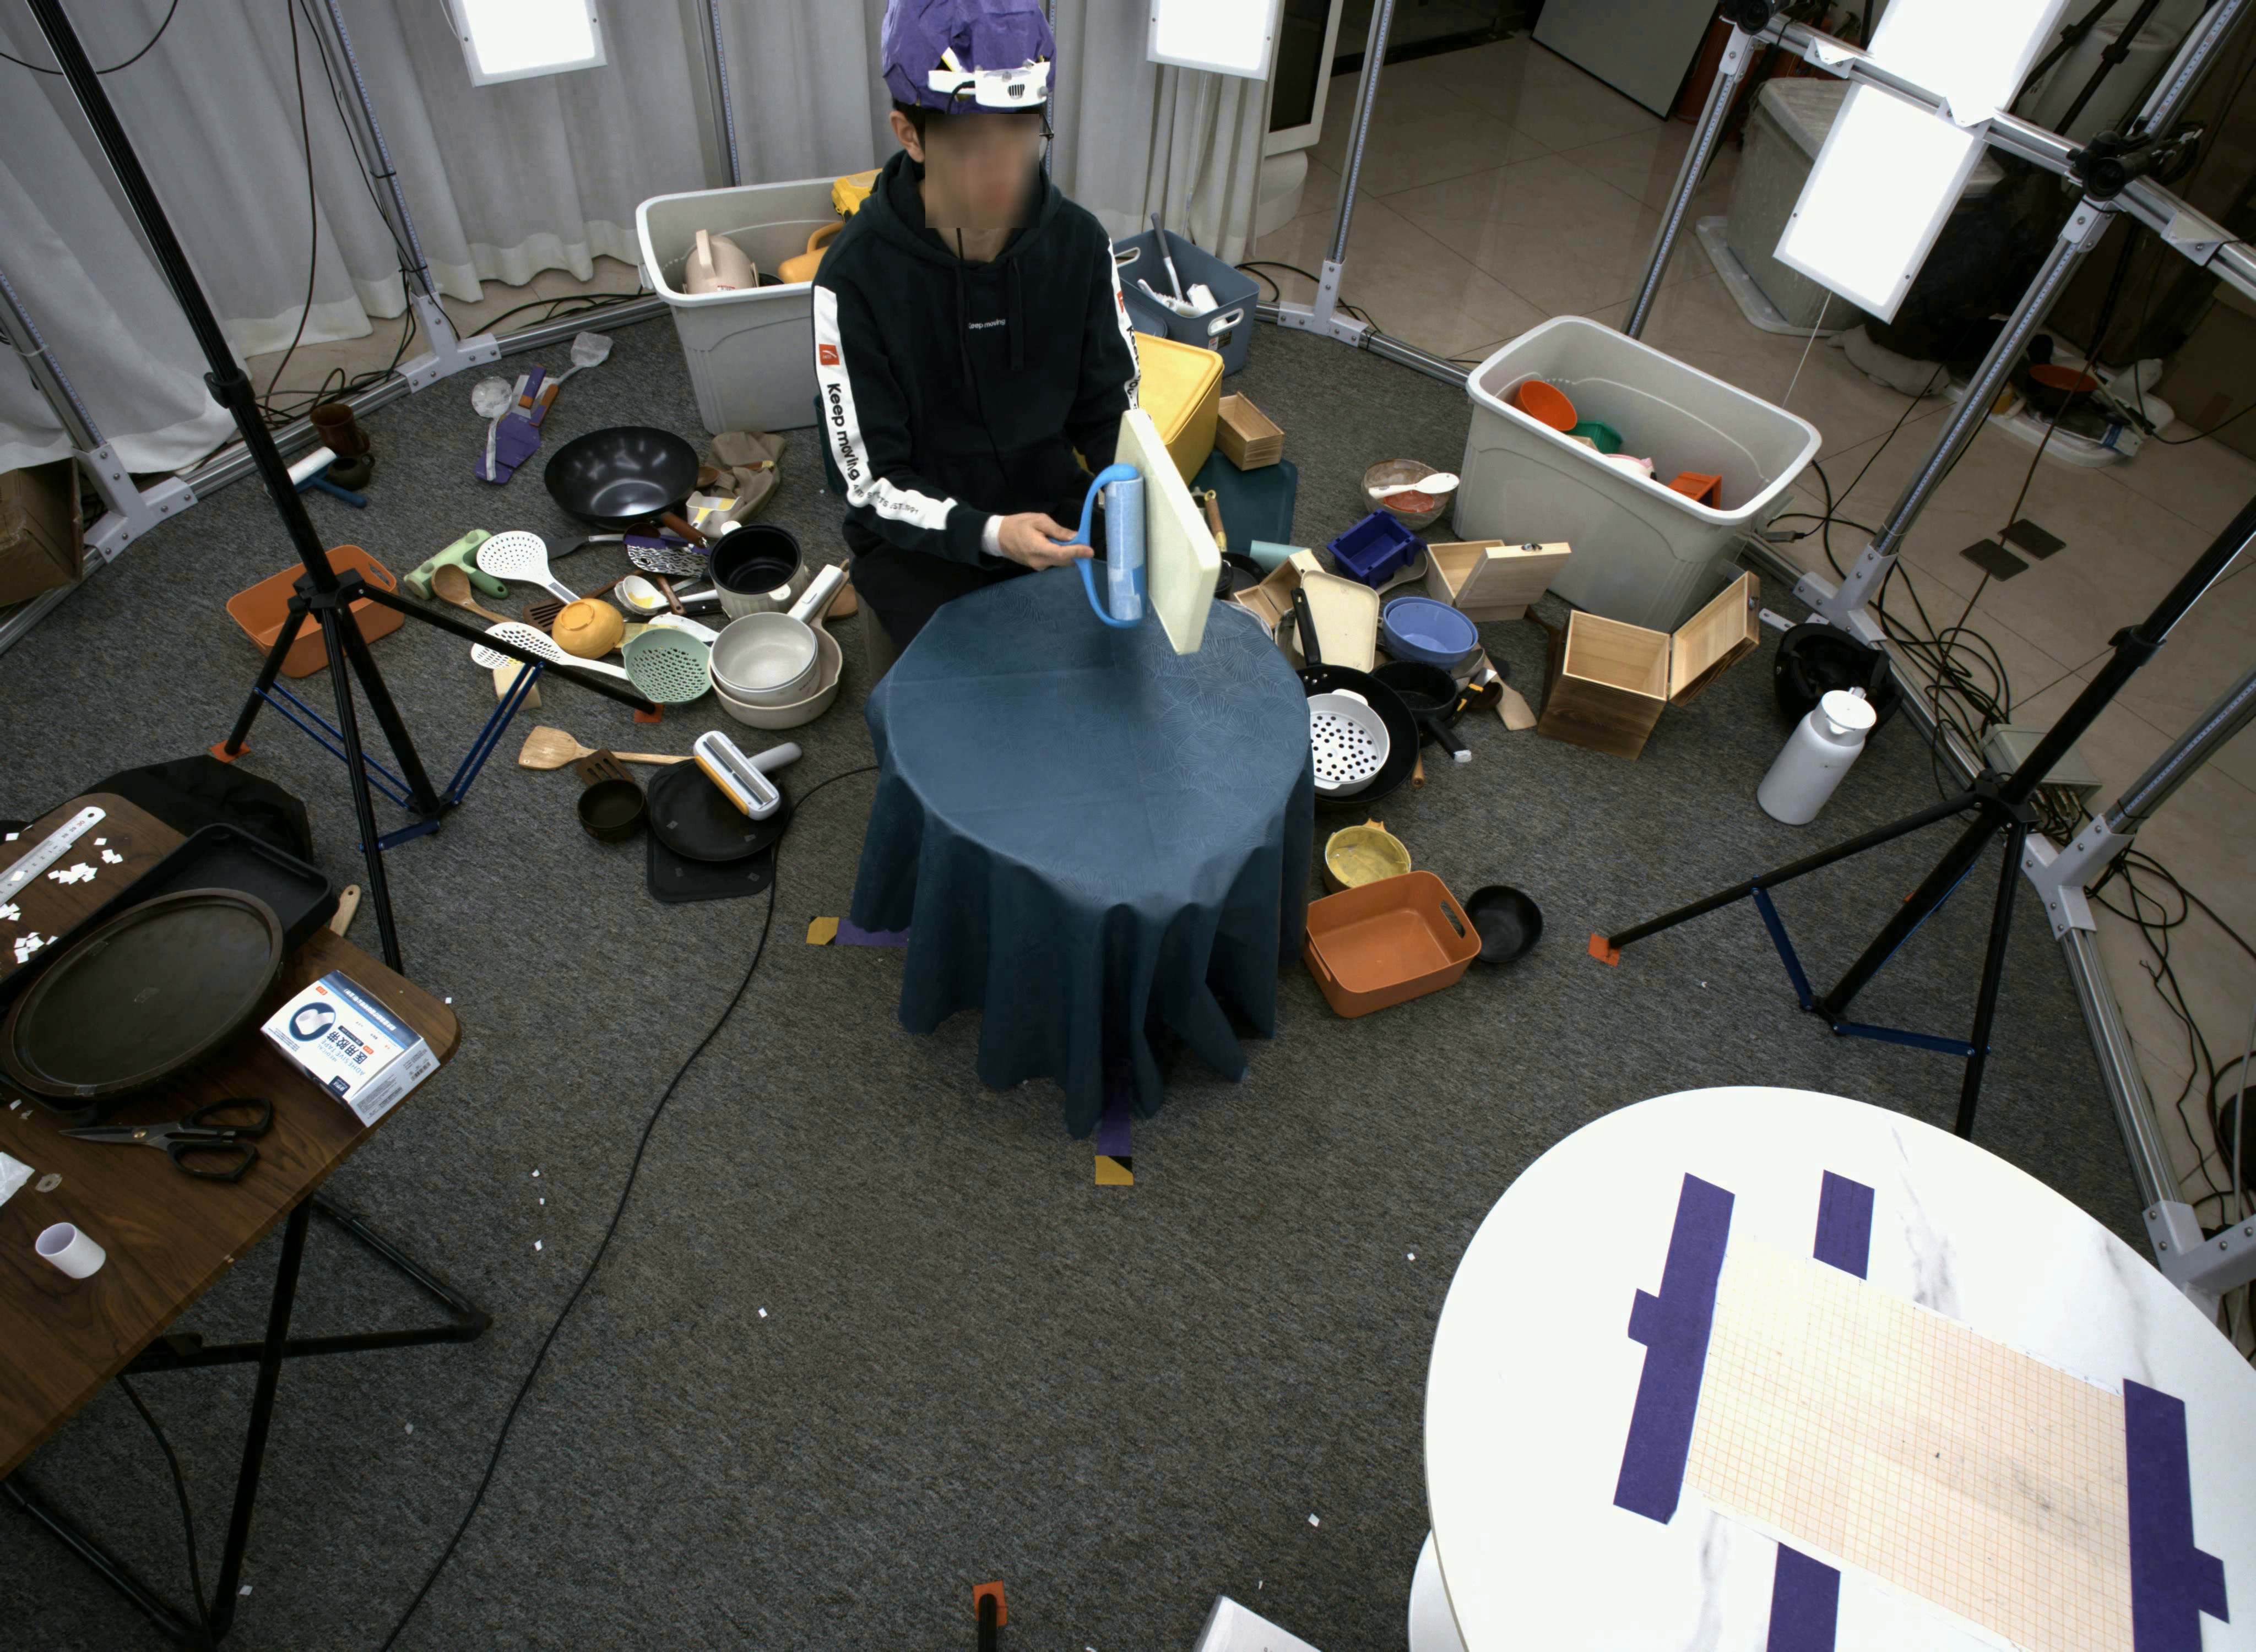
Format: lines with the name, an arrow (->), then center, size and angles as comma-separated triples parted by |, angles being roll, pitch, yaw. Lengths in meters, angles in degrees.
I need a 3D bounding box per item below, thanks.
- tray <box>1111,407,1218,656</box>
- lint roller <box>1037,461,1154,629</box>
tray -> 0.039, -0.394, 1.726 | 0.027, 0.187, 0.307 | -12, 57, -17
lint roller -> -0.053, -0.381, 1.761 | 0.181, 0.224, 0.069 | 4, 29, 23
